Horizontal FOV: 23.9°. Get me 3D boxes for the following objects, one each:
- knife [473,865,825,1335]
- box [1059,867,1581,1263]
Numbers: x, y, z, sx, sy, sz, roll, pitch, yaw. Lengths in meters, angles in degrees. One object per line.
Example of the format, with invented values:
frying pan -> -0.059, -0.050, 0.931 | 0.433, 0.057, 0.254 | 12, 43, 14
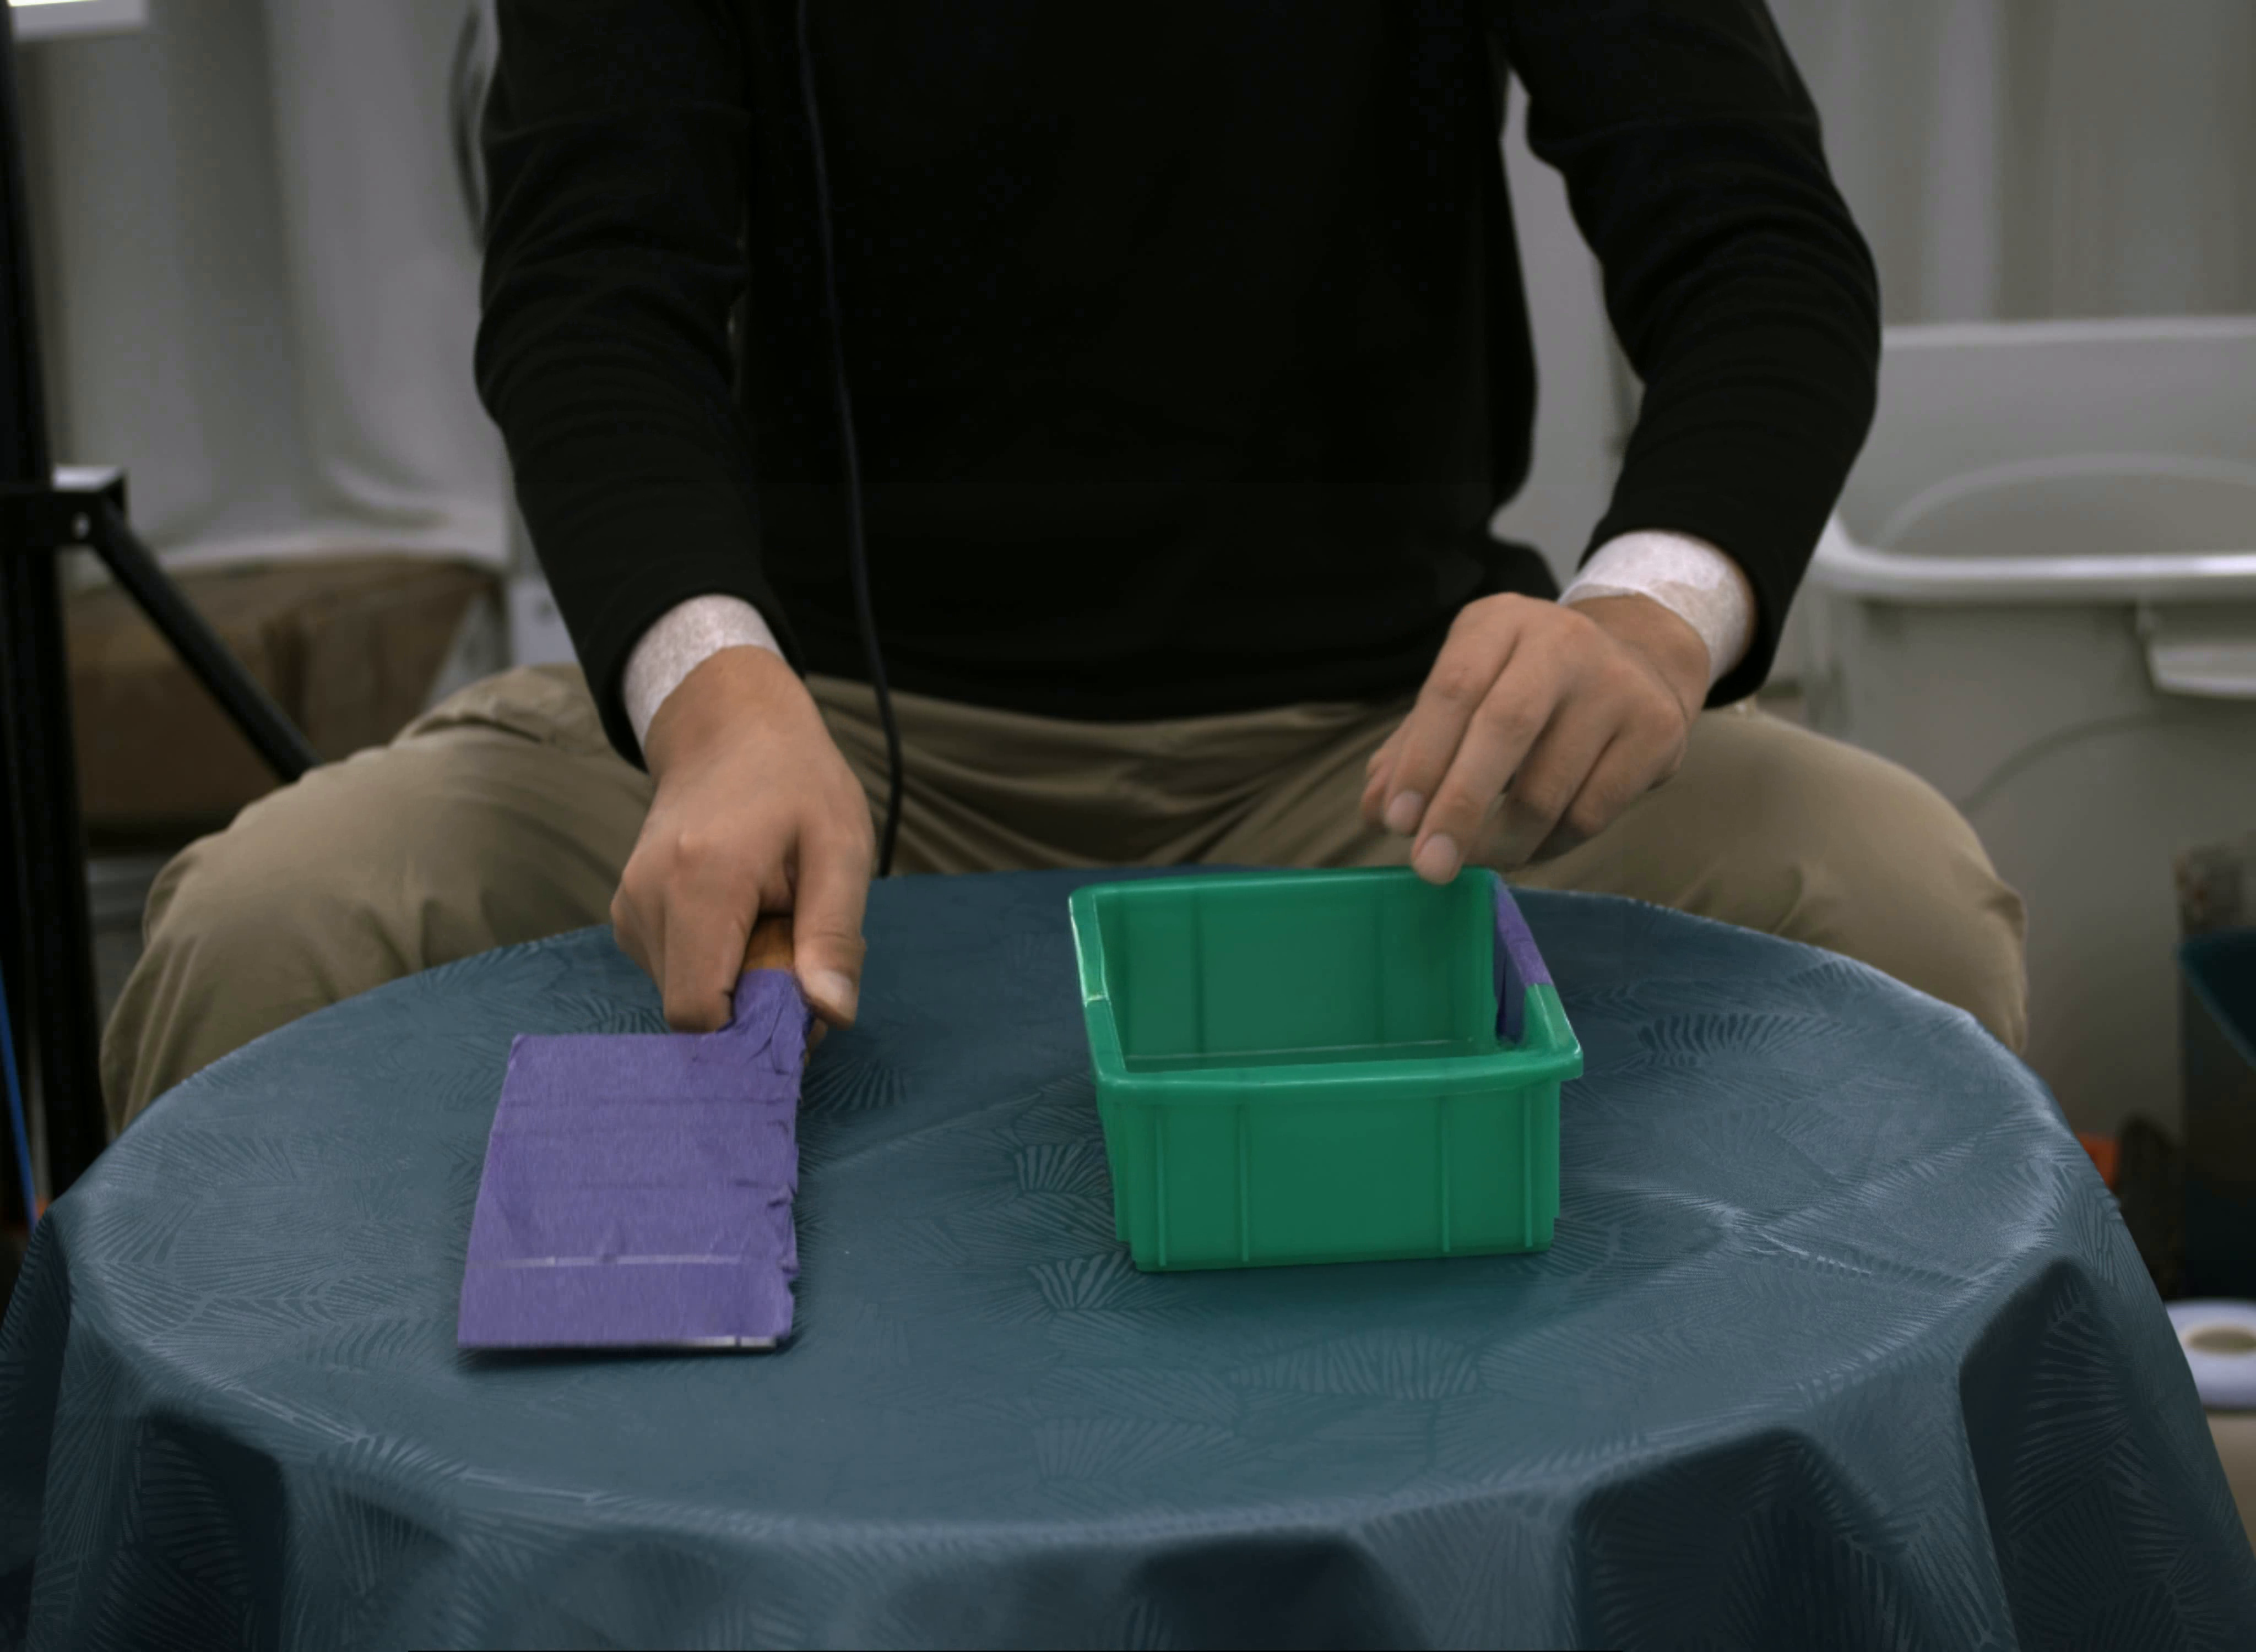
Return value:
knife -> -0.140, 0.077, 1.586 | 0.103, 0.032, 0.317 | 0, 19, -2
box -> 0.054, 0.070, 1.570 | 0.137, 0.065, 0.212 | -2, 14, -3
